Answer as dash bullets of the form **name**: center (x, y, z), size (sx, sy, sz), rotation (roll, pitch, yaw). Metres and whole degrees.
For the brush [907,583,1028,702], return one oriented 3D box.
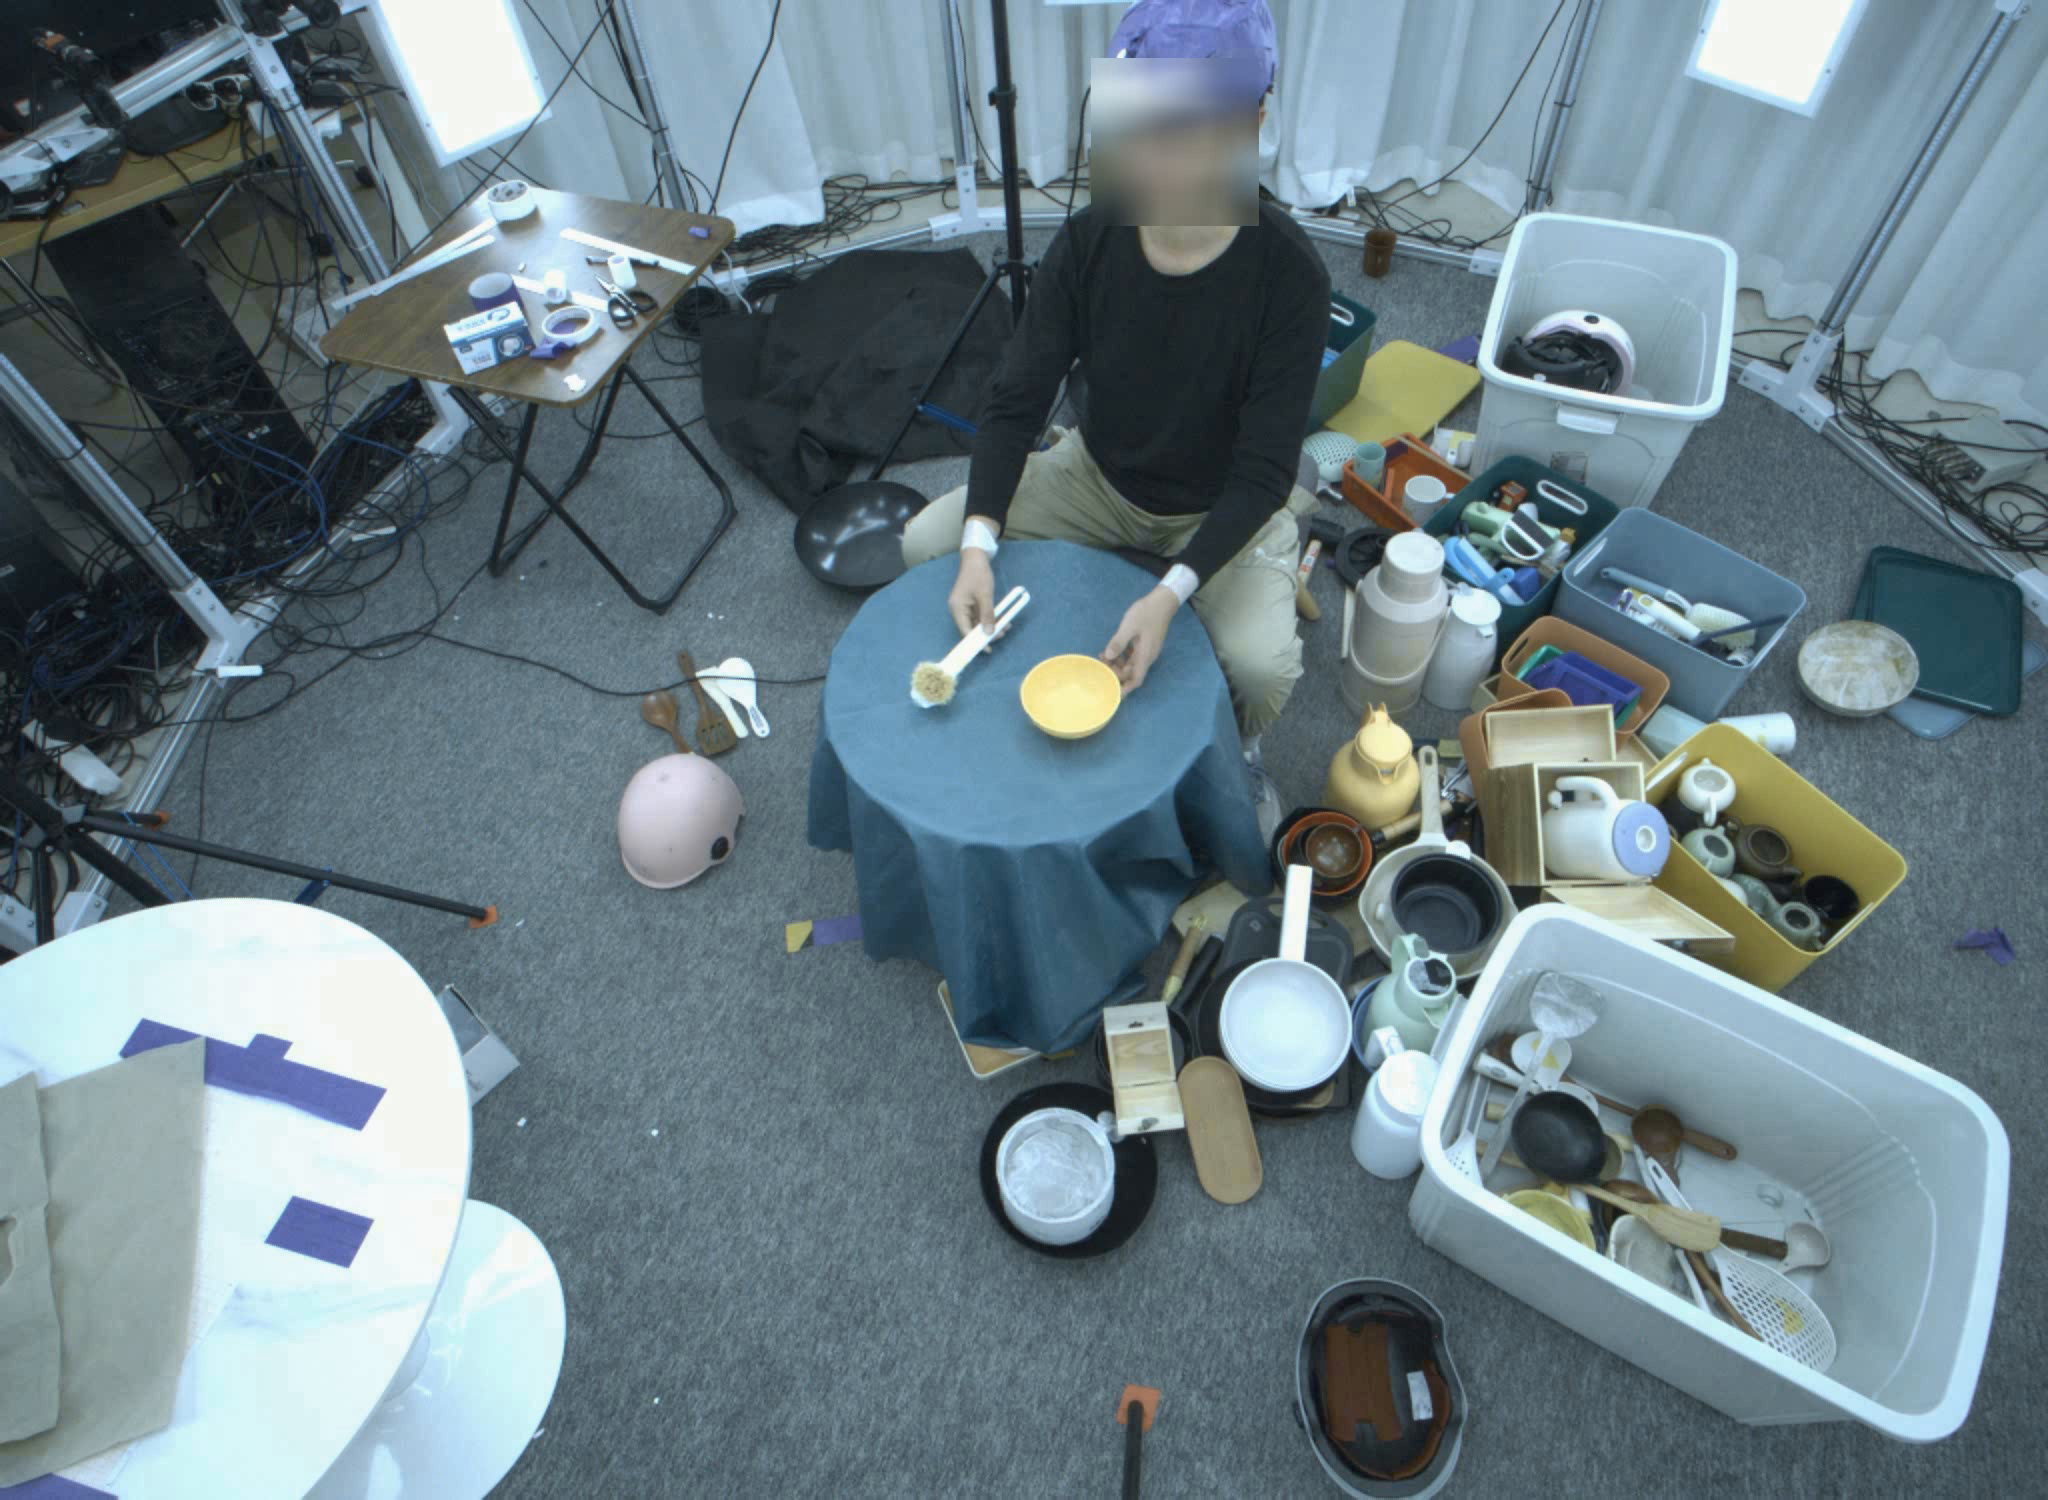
- **brush**: center (-0.078, -0.171, 1.855), size (0.069, 0.055, 0.268), rotation (46, 69, -7)

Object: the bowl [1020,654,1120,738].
- **bowl**: center (0.068, -0.067, 1.797), size (0.145, 0.061, 0.144), rotation (0, 55, 1)
